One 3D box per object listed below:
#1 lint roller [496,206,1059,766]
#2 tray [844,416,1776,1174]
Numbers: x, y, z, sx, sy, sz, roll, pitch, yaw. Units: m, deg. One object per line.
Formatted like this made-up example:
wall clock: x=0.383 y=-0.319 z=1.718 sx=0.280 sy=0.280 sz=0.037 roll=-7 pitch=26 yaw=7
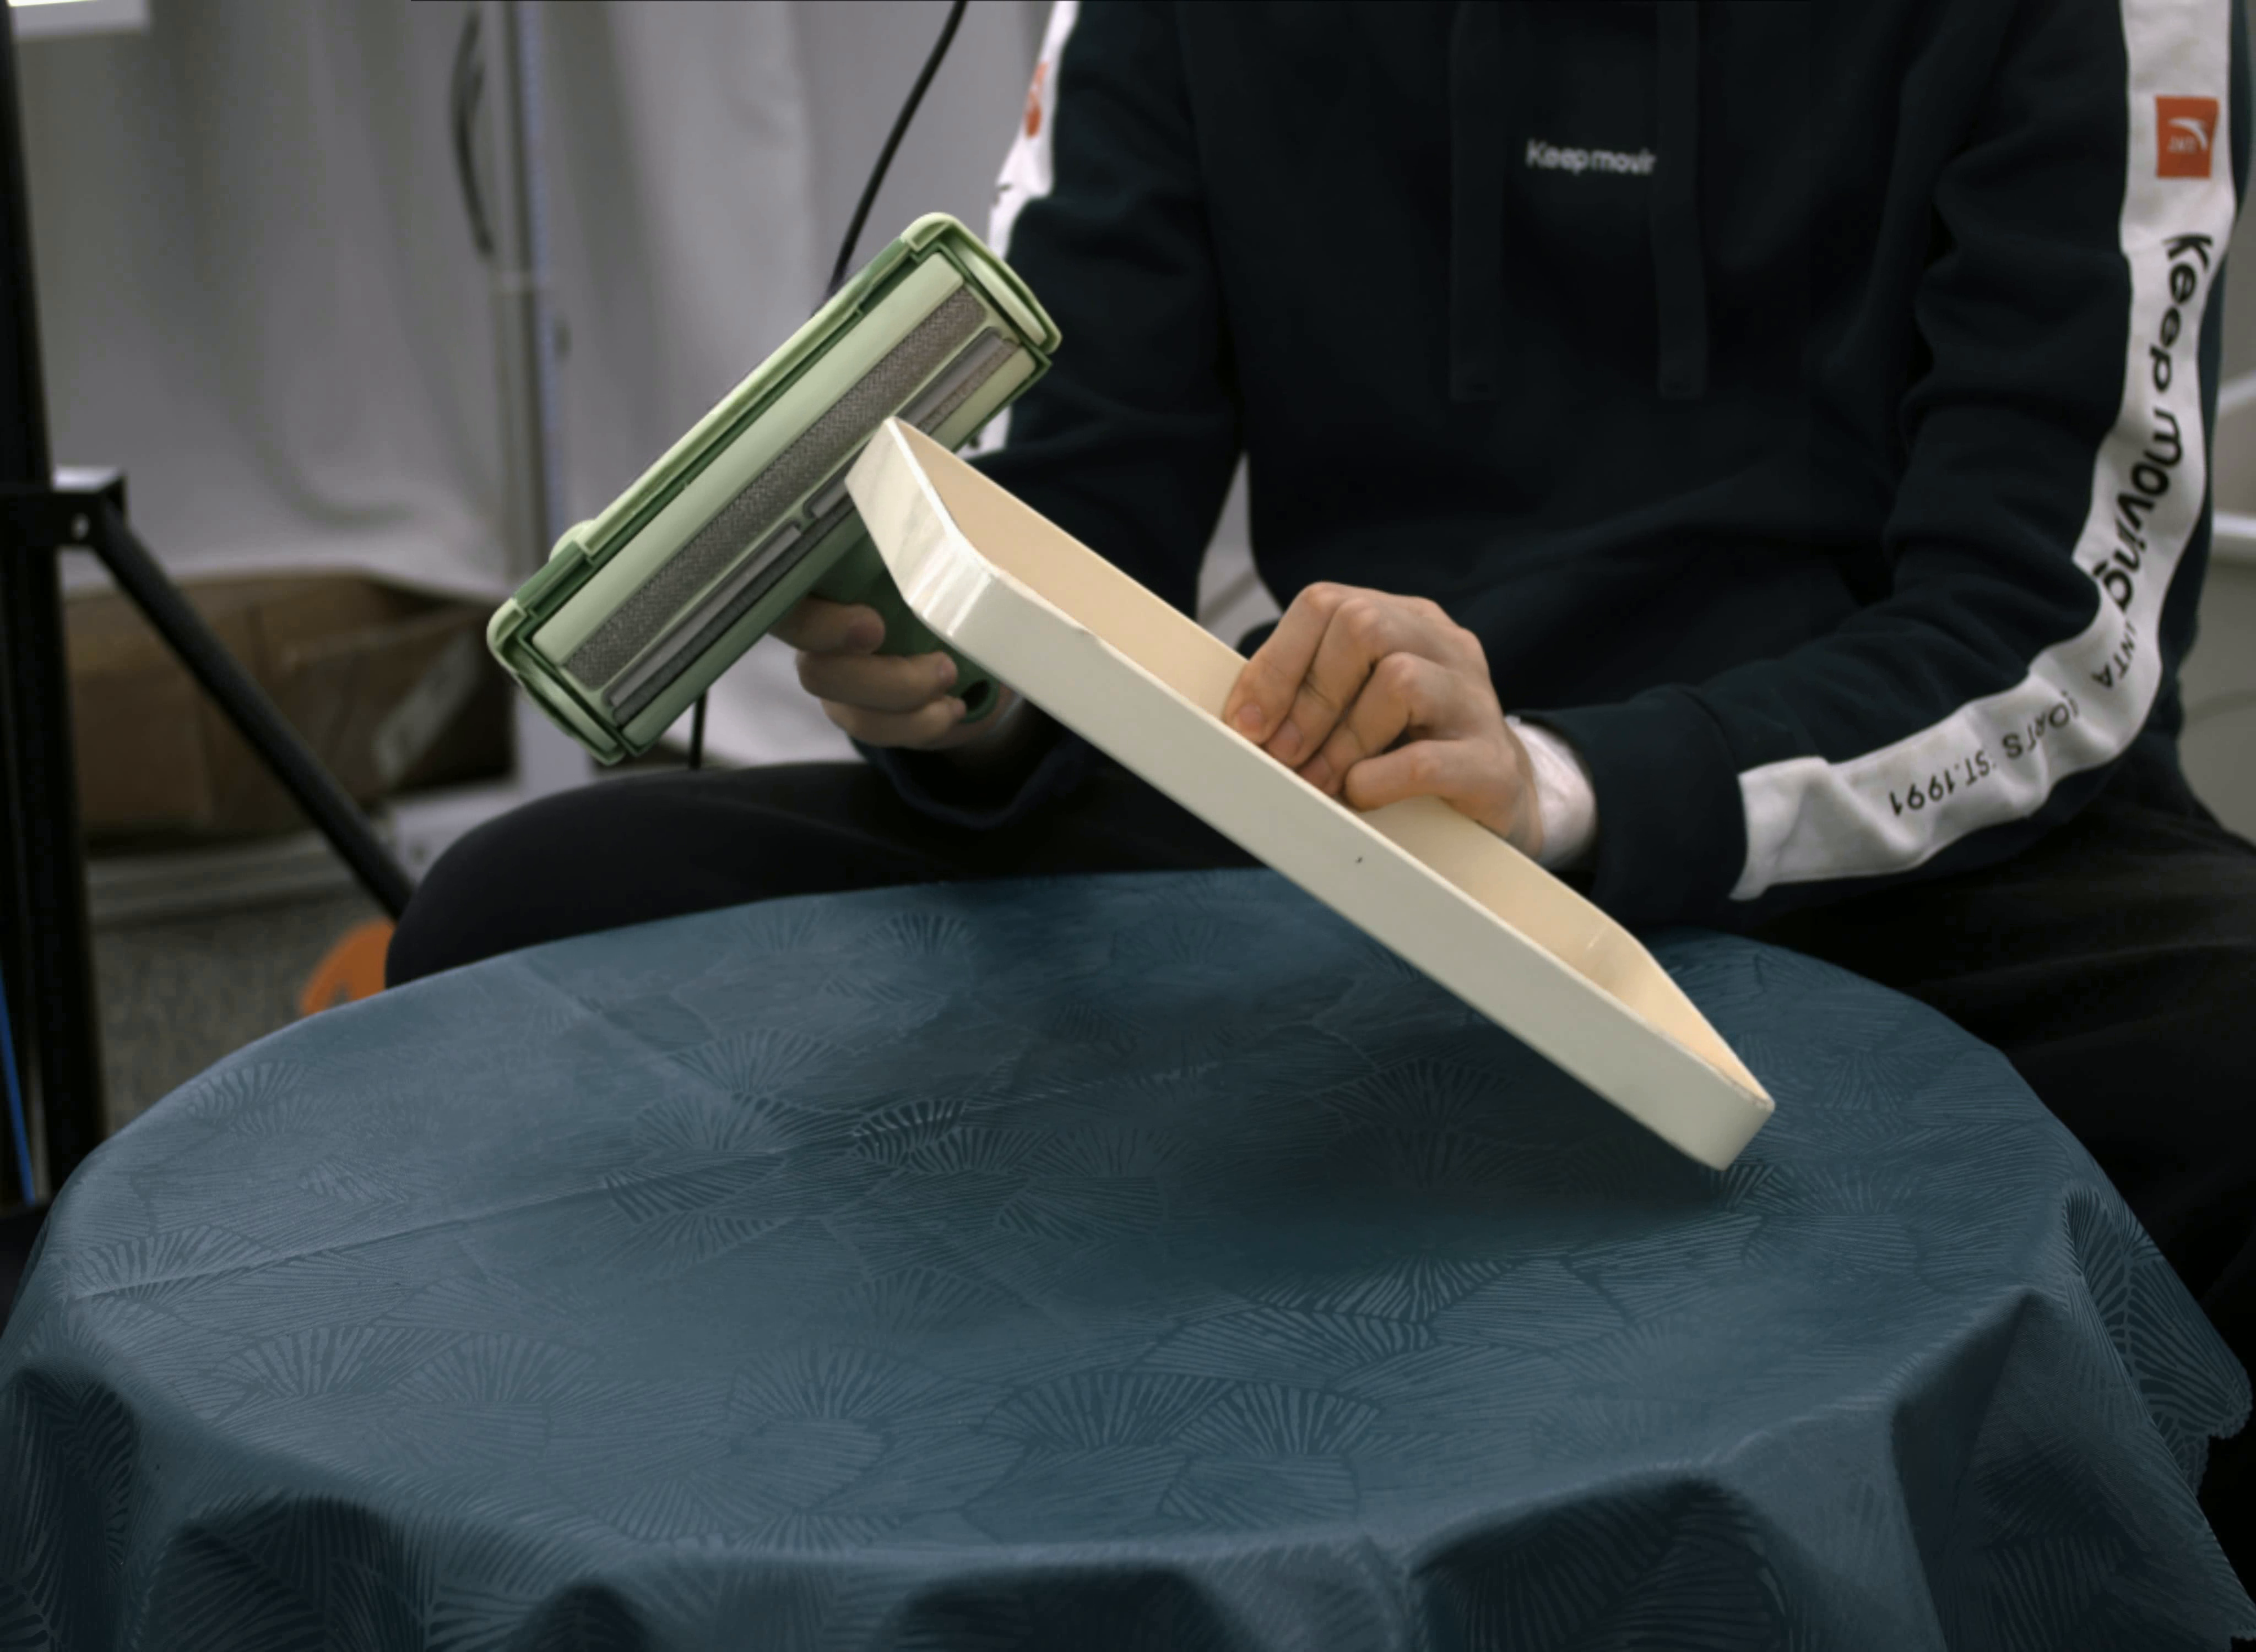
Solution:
lint roller: x=-0.096 y=-0.092 z=1.696 sx=0.084 sy=0.198 sz=0.180 roll=46 pitch=0 yaw=26
tray: x=0.050 y=-0.010 z=1.565 sx=0.296 sy=0.027 sz=0.193 roll=35 pitch=7 yaw=-15
